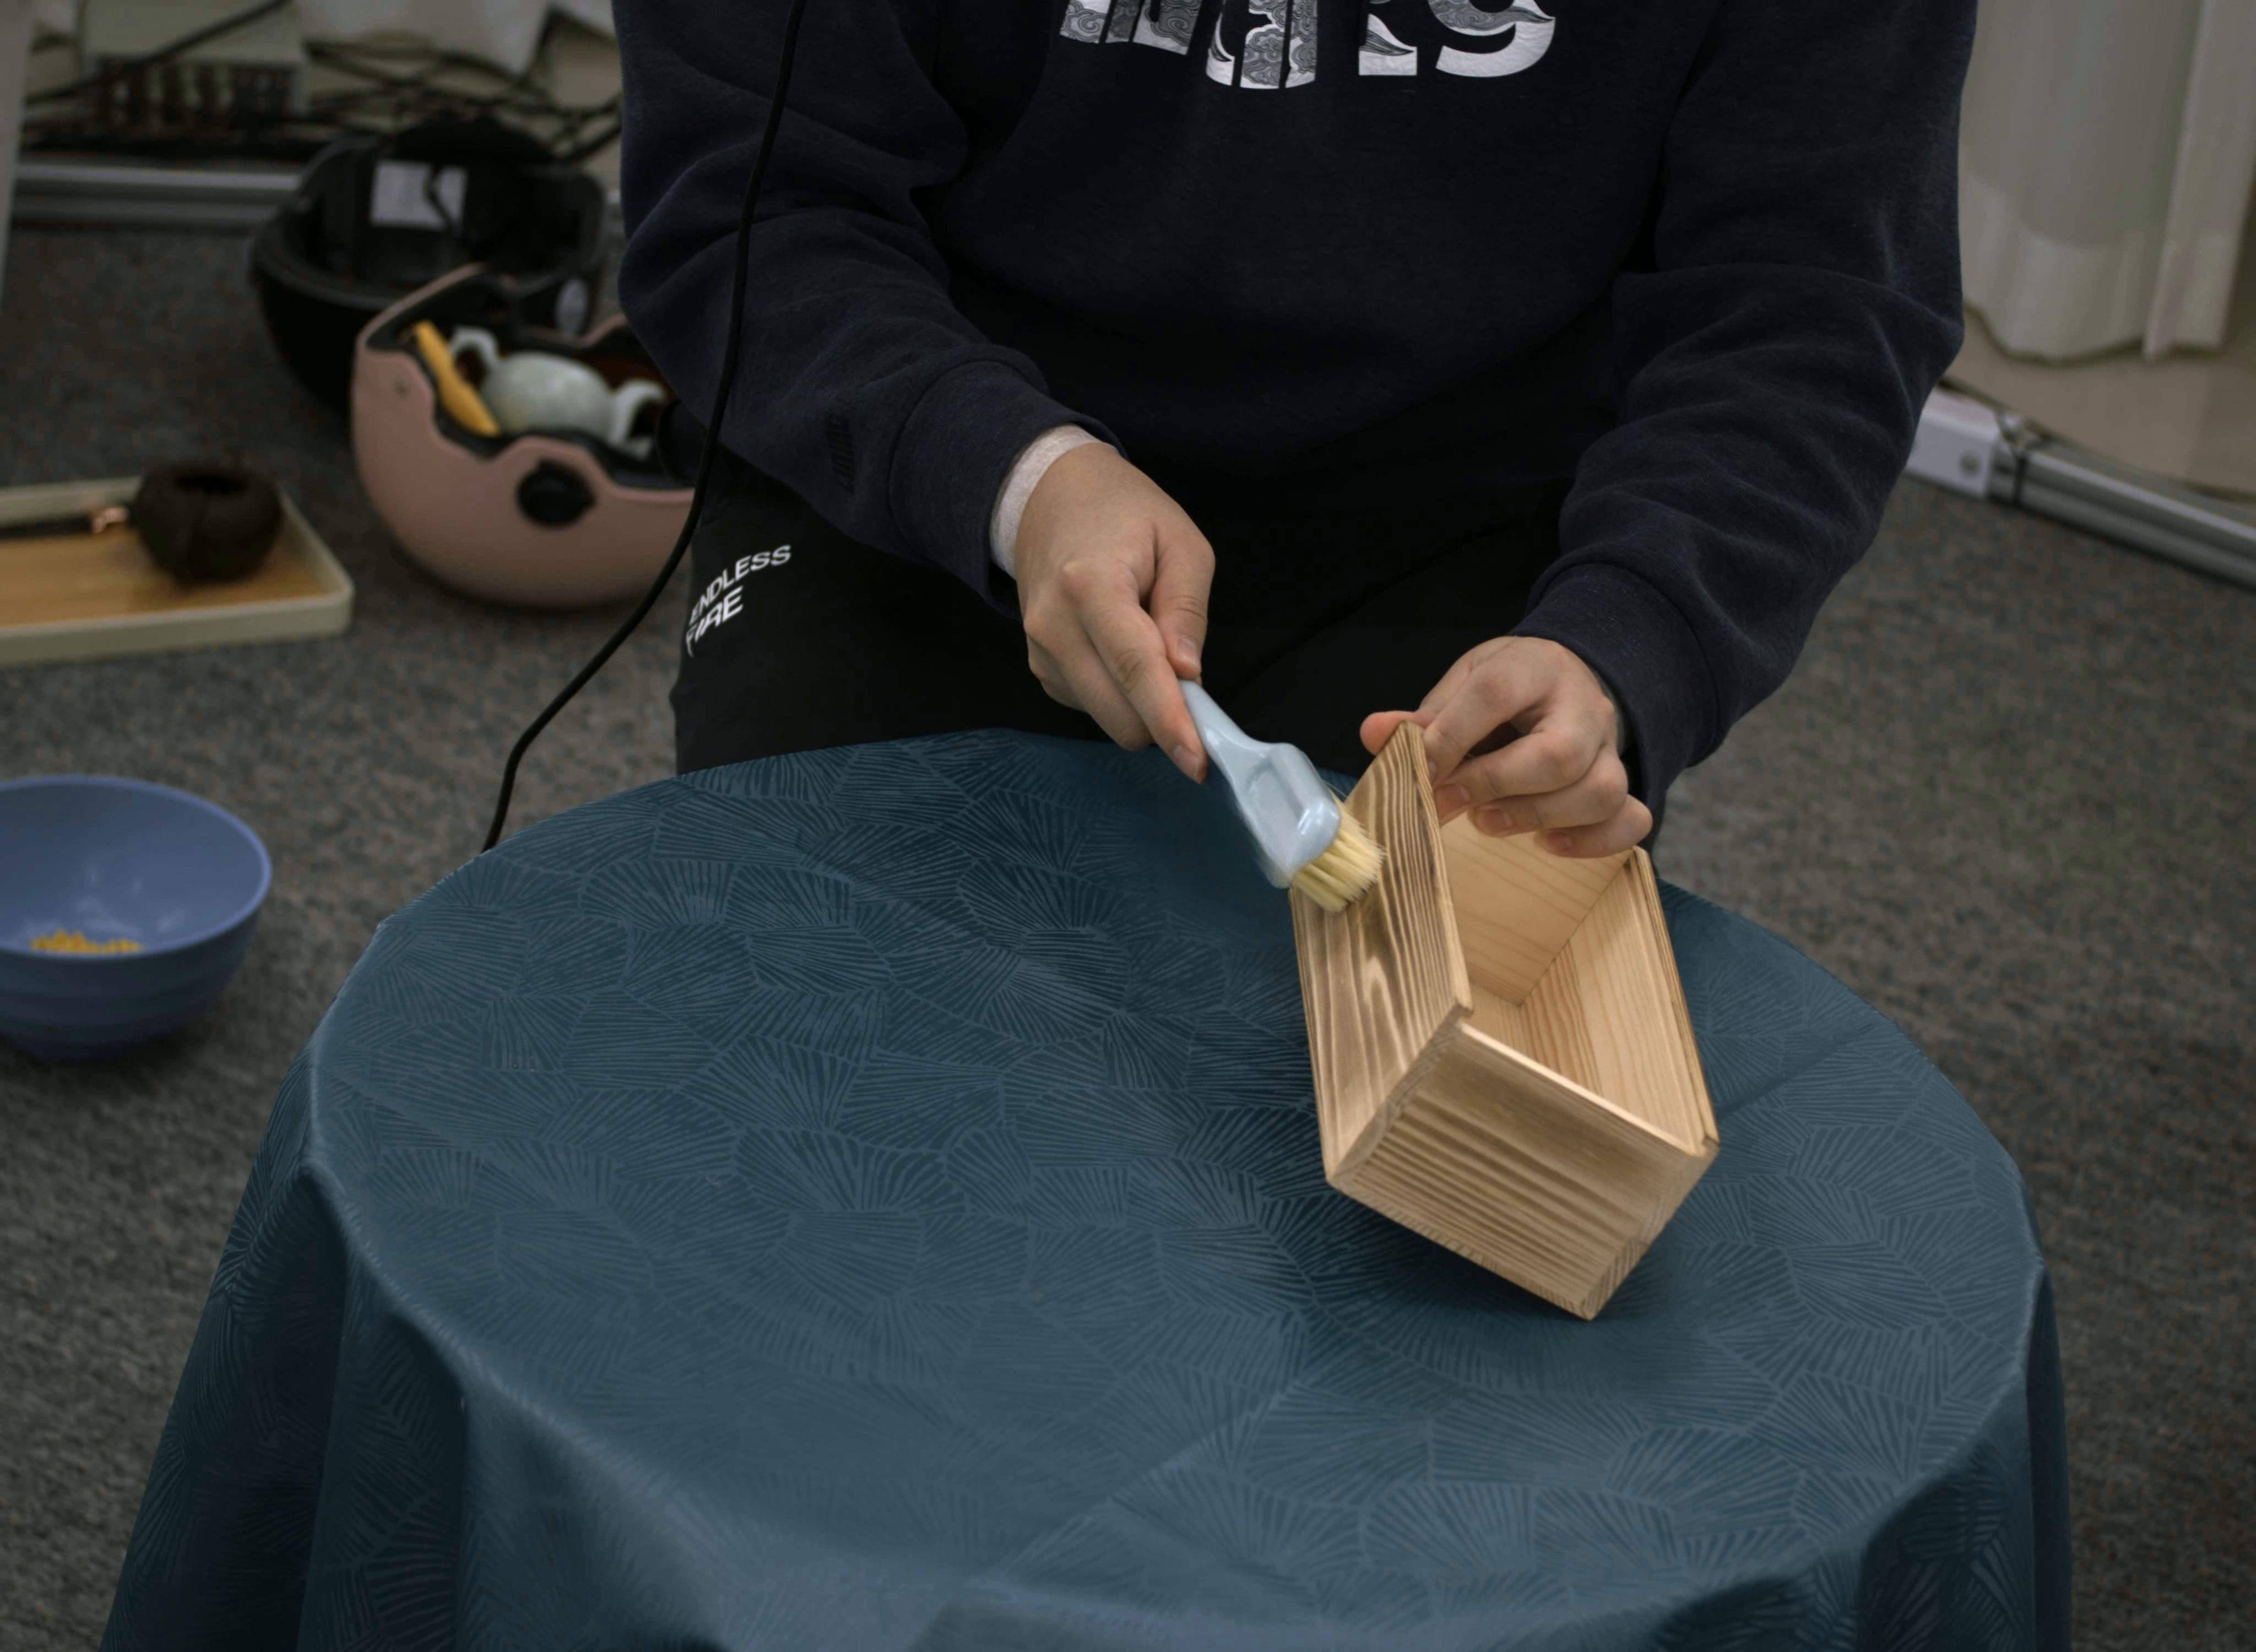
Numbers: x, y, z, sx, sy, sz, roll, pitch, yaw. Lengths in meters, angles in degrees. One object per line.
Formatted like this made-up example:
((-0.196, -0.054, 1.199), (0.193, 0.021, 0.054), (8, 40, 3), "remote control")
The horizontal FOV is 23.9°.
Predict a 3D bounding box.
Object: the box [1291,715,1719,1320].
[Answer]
((0.126, 0.062, 1.828), (0.107, 0.080, 0.213), (28, 23, -15), "box")

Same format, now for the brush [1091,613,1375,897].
((0.035, -0.028, 1.936), (0.049, 0.038, 0.230), (26, 10, -29), "brush")
